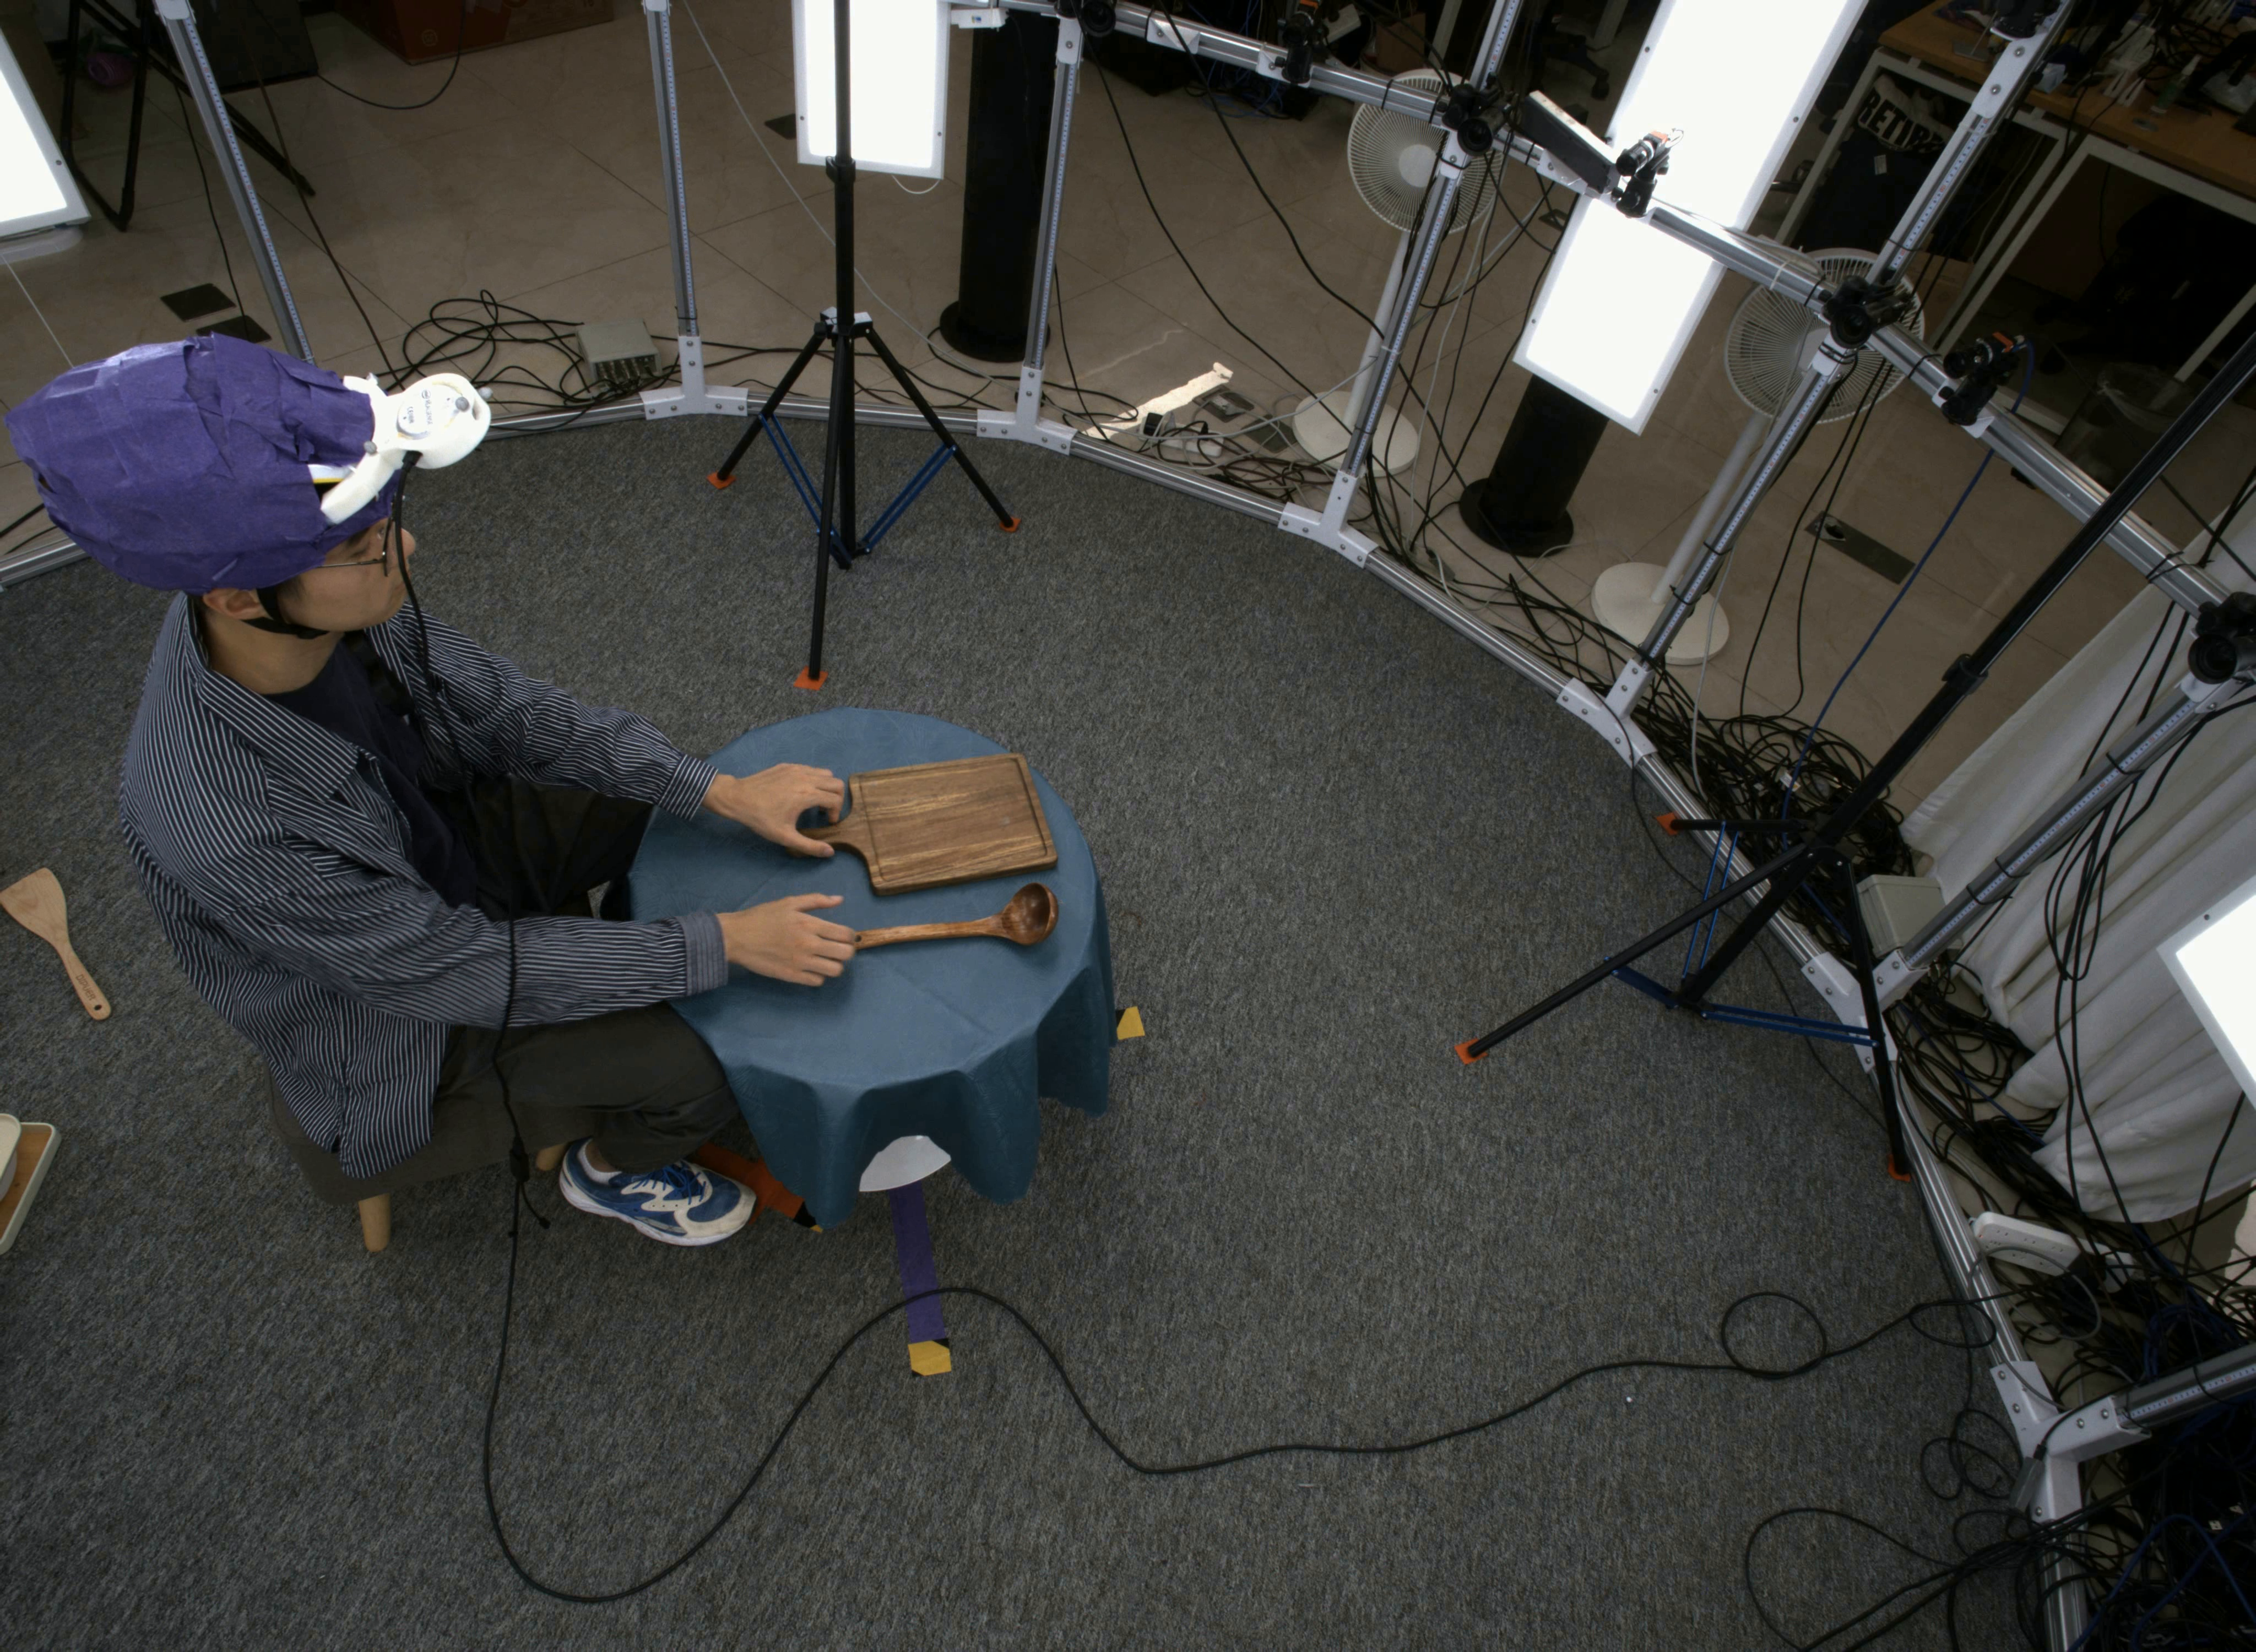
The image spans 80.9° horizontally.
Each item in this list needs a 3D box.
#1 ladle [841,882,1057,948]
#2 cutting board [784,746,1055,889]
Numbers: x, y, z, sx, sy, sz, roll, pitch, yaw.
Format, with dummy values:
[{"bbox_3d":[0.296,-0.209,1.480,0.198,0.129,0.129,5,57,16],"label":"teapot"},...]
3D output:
[{"bbox_3d":[-0.226,0.120,1.651,0.274,0.078,0.080,-3,58,-15],"label":"ladle"},{"bbox_3d":[-0.289,-0.011,1.768,0.353,0.023,0.196,-8,56,-19],"label":"cutting board"}]
